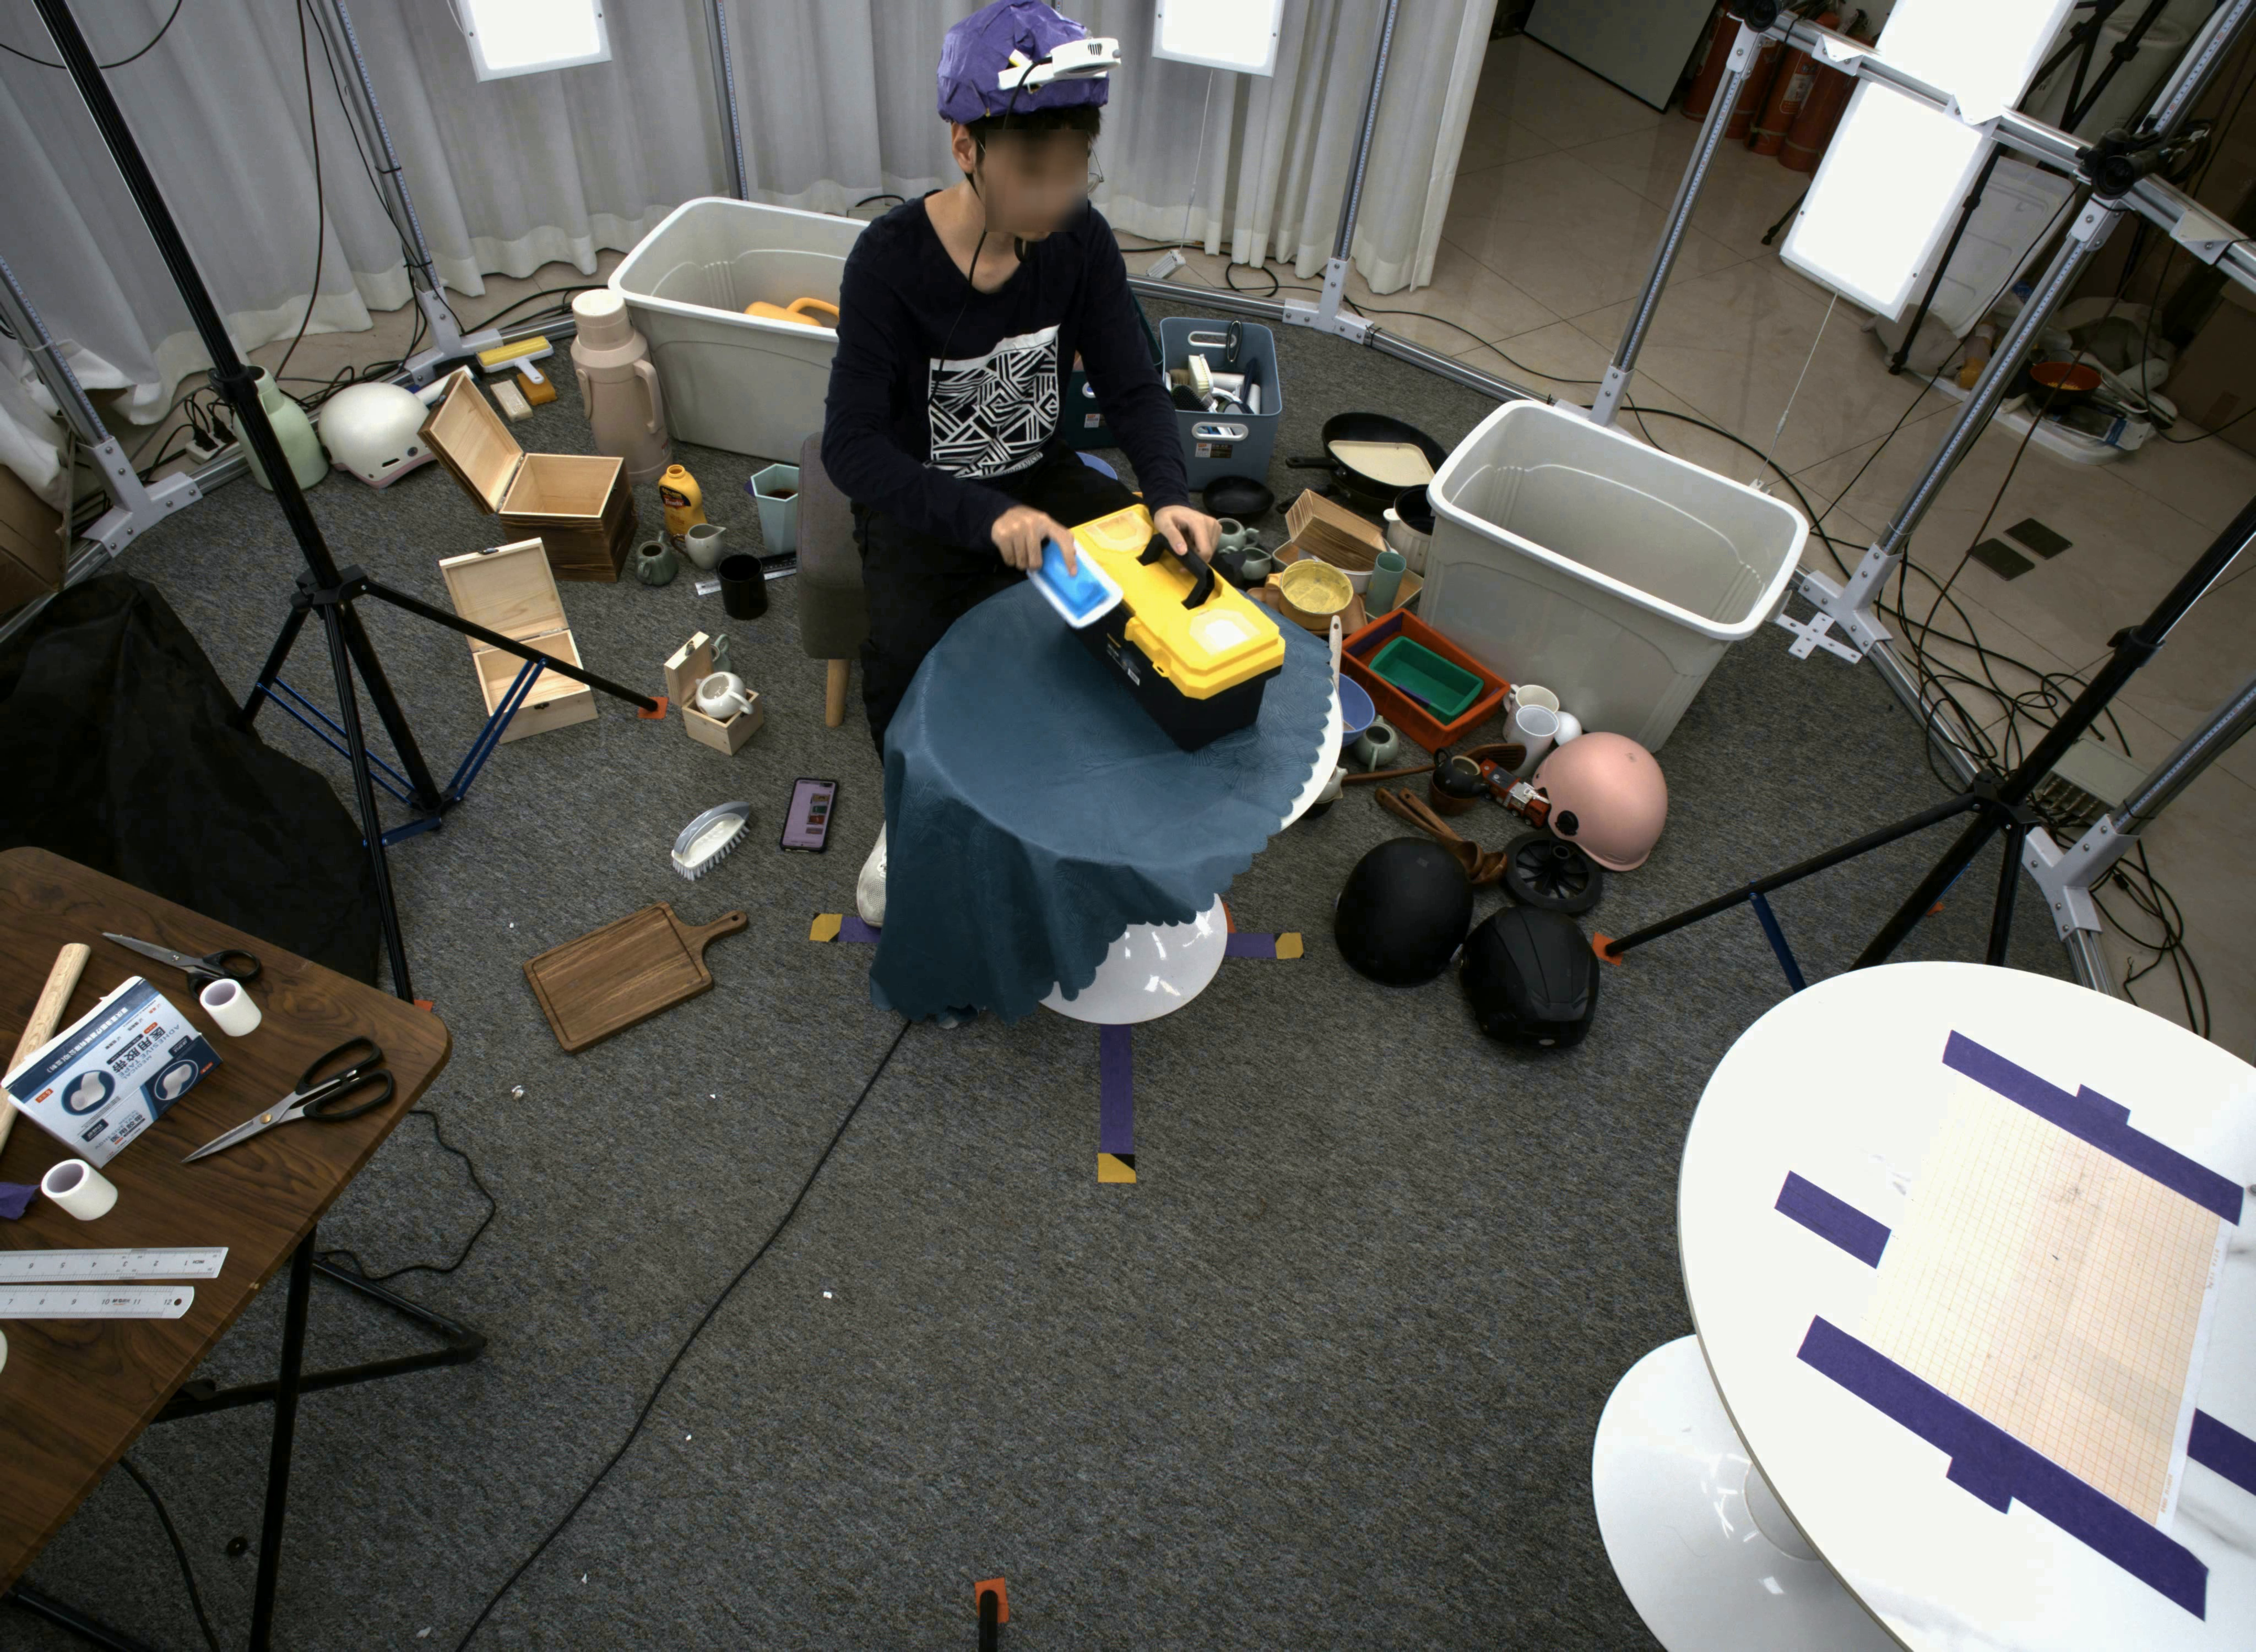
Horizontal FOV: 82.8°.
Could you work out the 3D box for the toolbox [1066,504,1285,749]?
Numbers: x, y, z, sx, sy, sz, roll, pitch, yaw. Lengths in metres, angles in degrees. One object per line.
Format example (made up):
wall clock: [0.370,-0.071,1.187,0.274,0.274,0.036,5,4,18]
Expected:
toolbox: [0.049,-0.280,1.802,0.182,0.168,0.358,-25,55,-24]

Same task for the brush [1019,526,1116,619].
brush: [-0.082,-0.342,1.700,0.084,0.055,0.147,-34,61,-7]
